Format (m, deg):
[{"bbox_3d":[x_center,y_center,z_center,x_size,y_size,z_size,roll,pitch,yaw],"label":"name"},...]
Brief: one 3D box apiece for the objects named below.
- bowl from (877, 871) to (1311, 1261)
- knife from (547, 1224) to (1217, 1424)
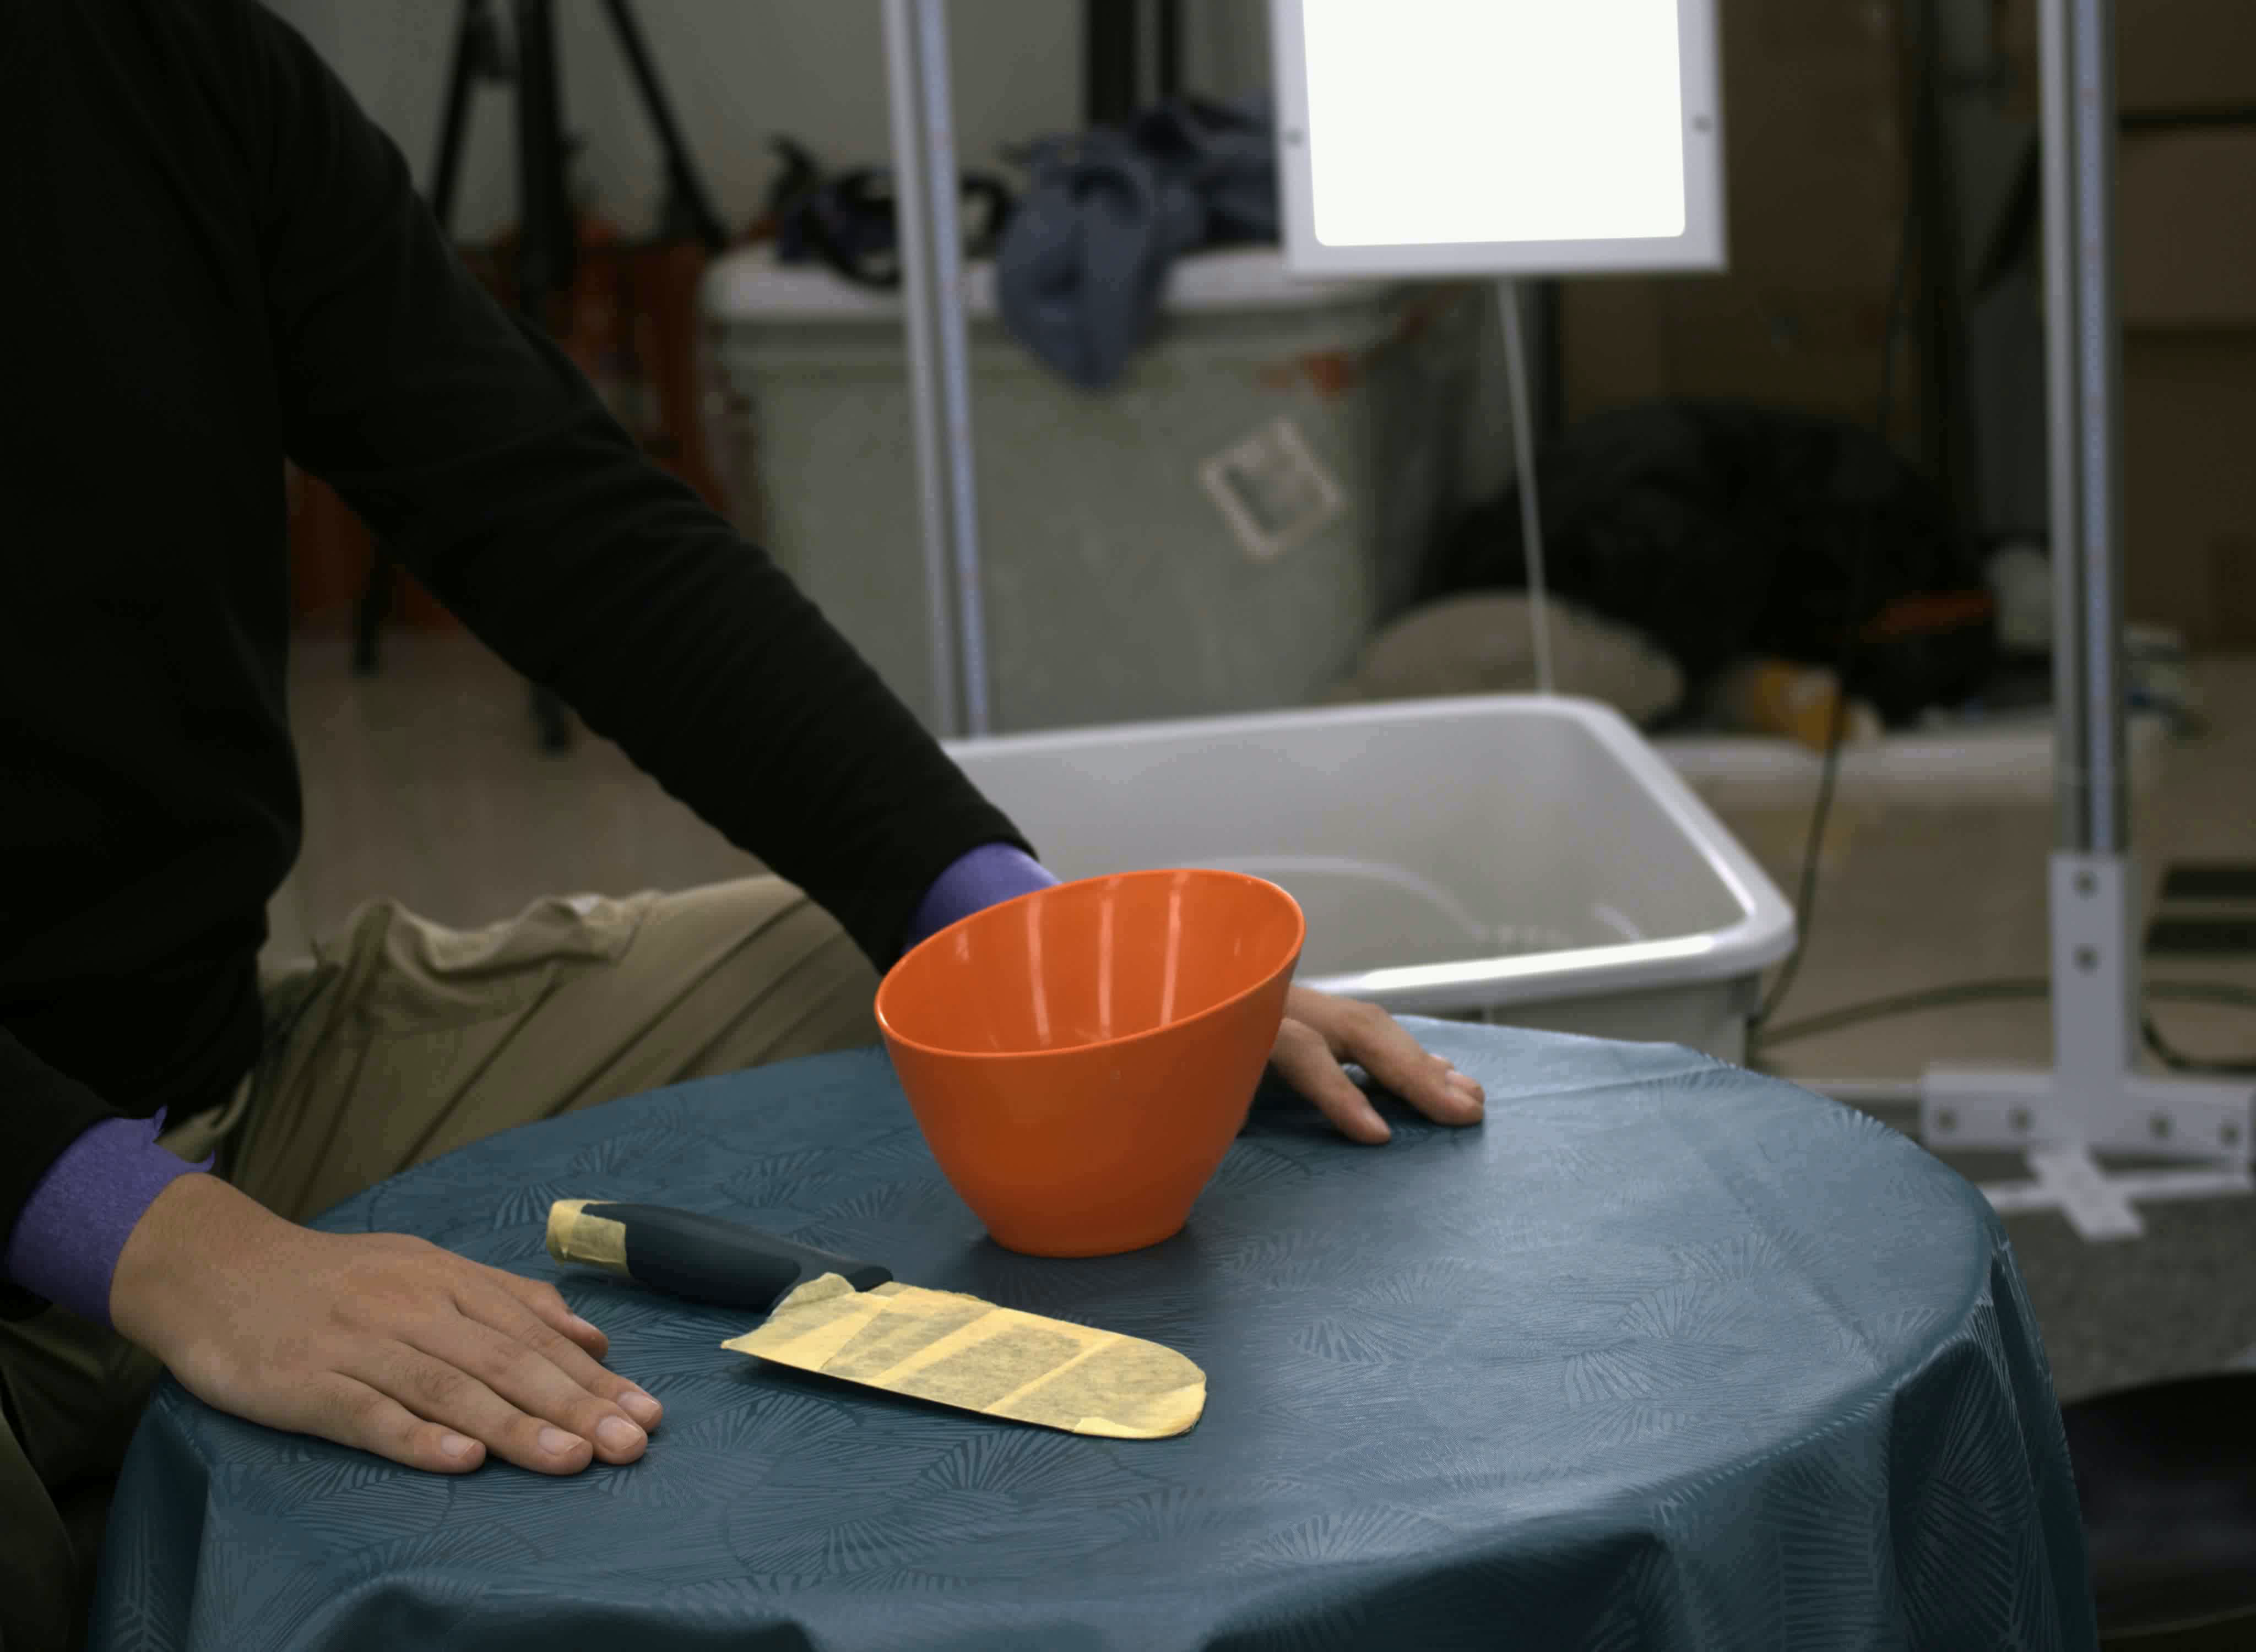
[{"bbox_3d":[-0.009,0.084,1.859,0.147,0.105,0.148,-4,15,0],"label":"bowl"},{"bbox_3d":[-0.088,0.161,1.763,0.296,0.027,0.079,8,17,40],"label":"knife"}]
